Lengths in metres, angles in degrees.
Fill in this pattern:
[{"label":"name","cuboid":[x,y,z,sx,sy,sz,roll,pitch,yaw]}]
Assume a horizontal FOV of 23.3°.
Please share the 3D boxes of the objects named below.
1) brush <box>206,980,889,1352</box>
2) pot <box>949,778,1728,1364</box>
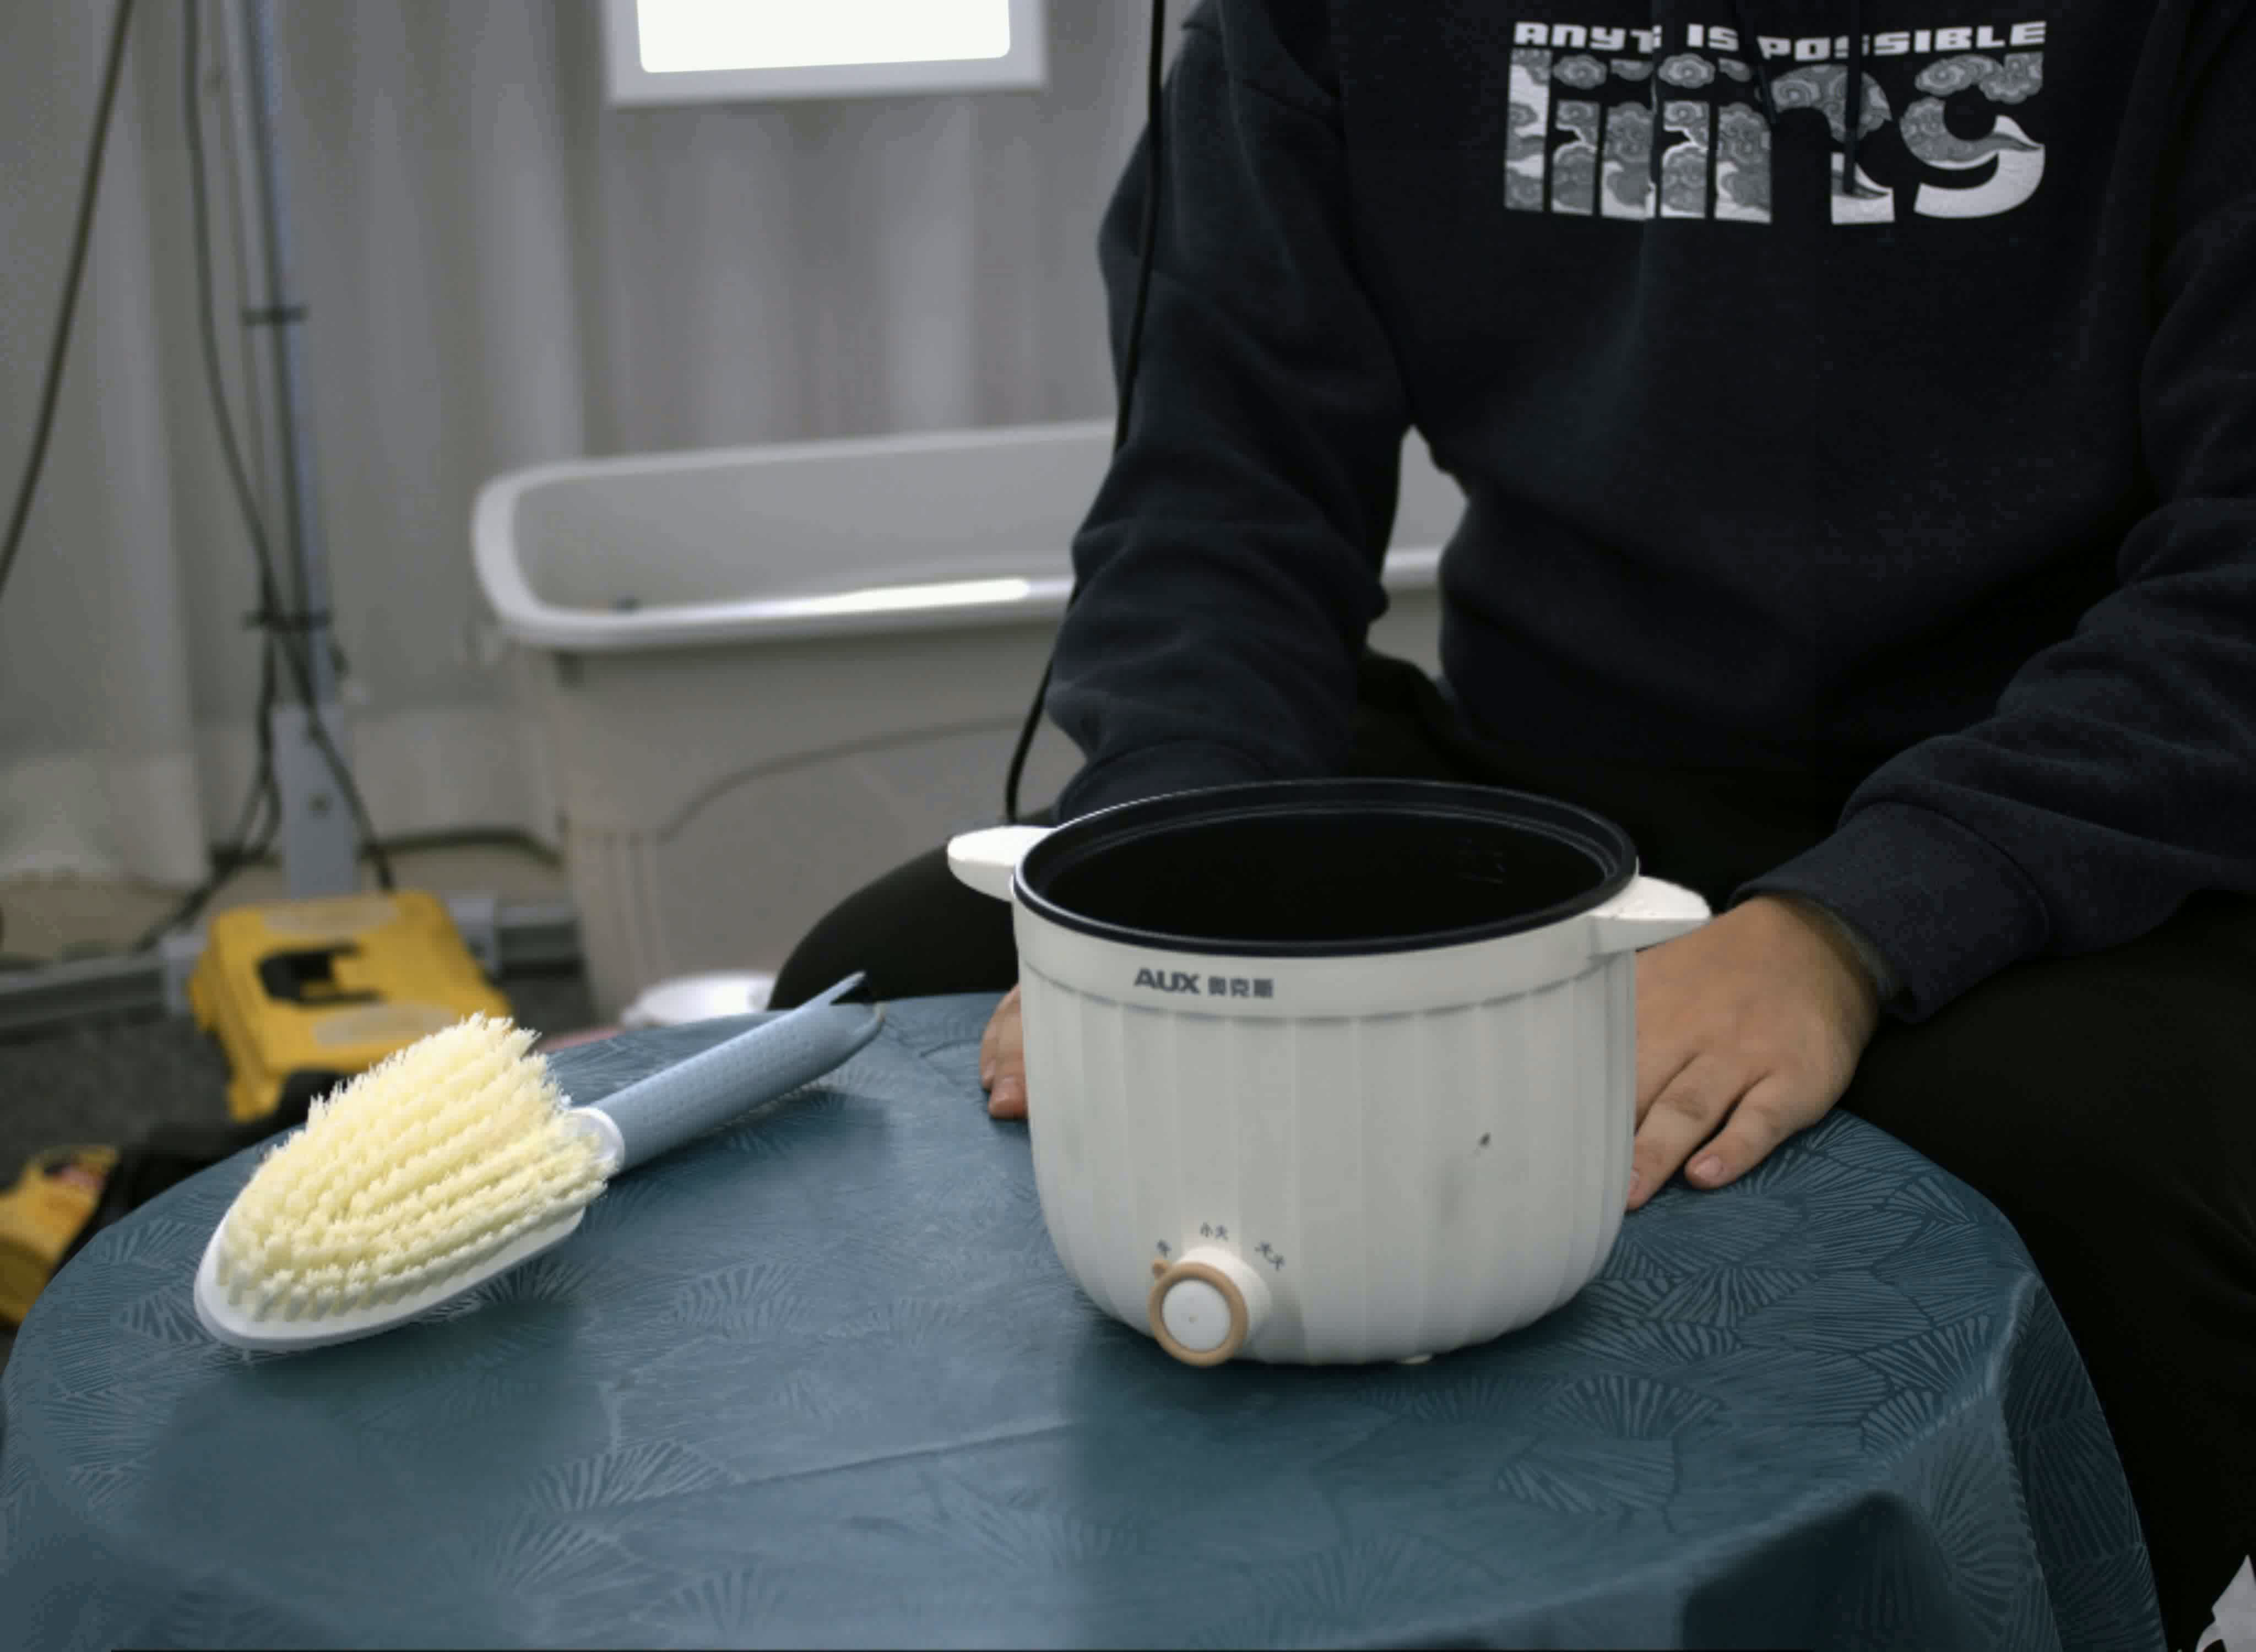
[{"label":"brush","cuboid":[-0.162,0.082,1.710,0.085,0.083,0.325,1,16,35]},{"label":"pot","cuboid":[0.059,0.074,1.592,0.240,0.142,0.190,3,12,25]}]
